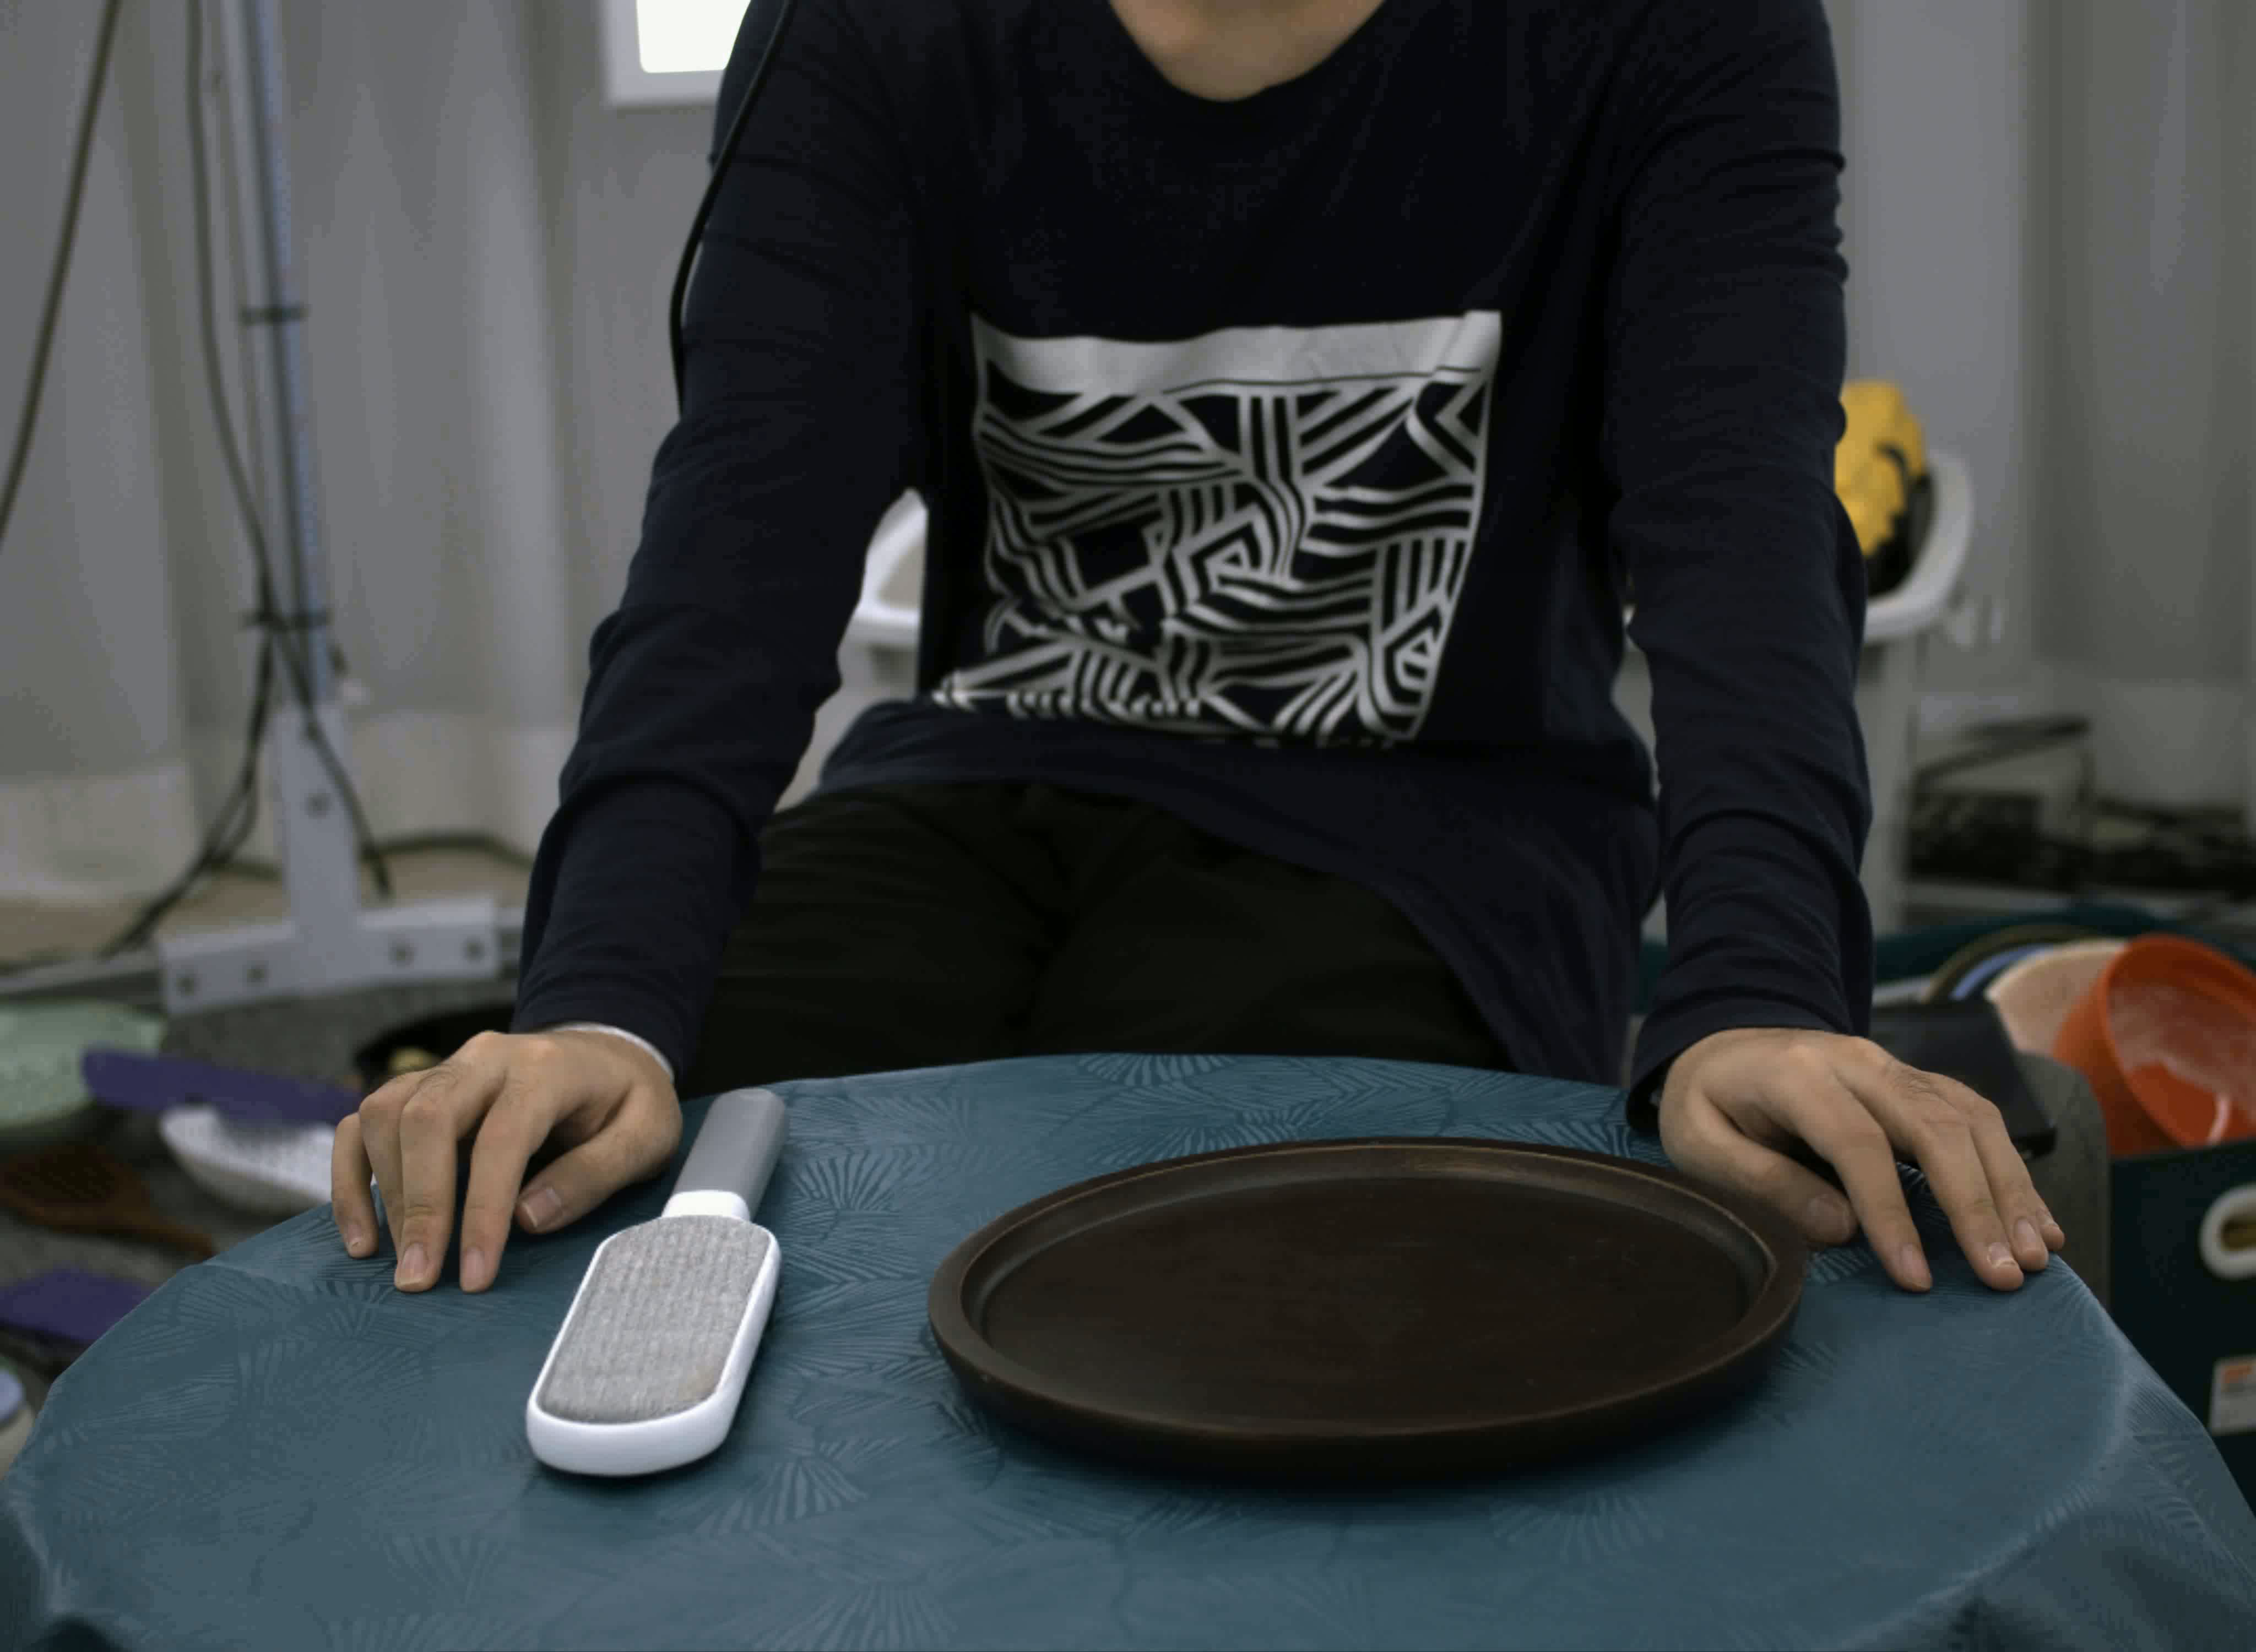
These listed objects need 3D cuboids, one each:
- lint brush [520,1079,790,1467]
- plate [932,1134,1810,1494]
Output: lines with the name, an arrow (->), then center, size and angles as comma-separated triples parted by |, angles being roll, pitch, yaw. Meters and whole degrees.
lint brush -> -0.130, 0.129, 1.635 | 0.060, 0.021, 0.311 | -7, 14, 5
plate -> 0.069, 0.137, 1.571 | 0.254, 0.029, 0.256 | -1, 15, 0
